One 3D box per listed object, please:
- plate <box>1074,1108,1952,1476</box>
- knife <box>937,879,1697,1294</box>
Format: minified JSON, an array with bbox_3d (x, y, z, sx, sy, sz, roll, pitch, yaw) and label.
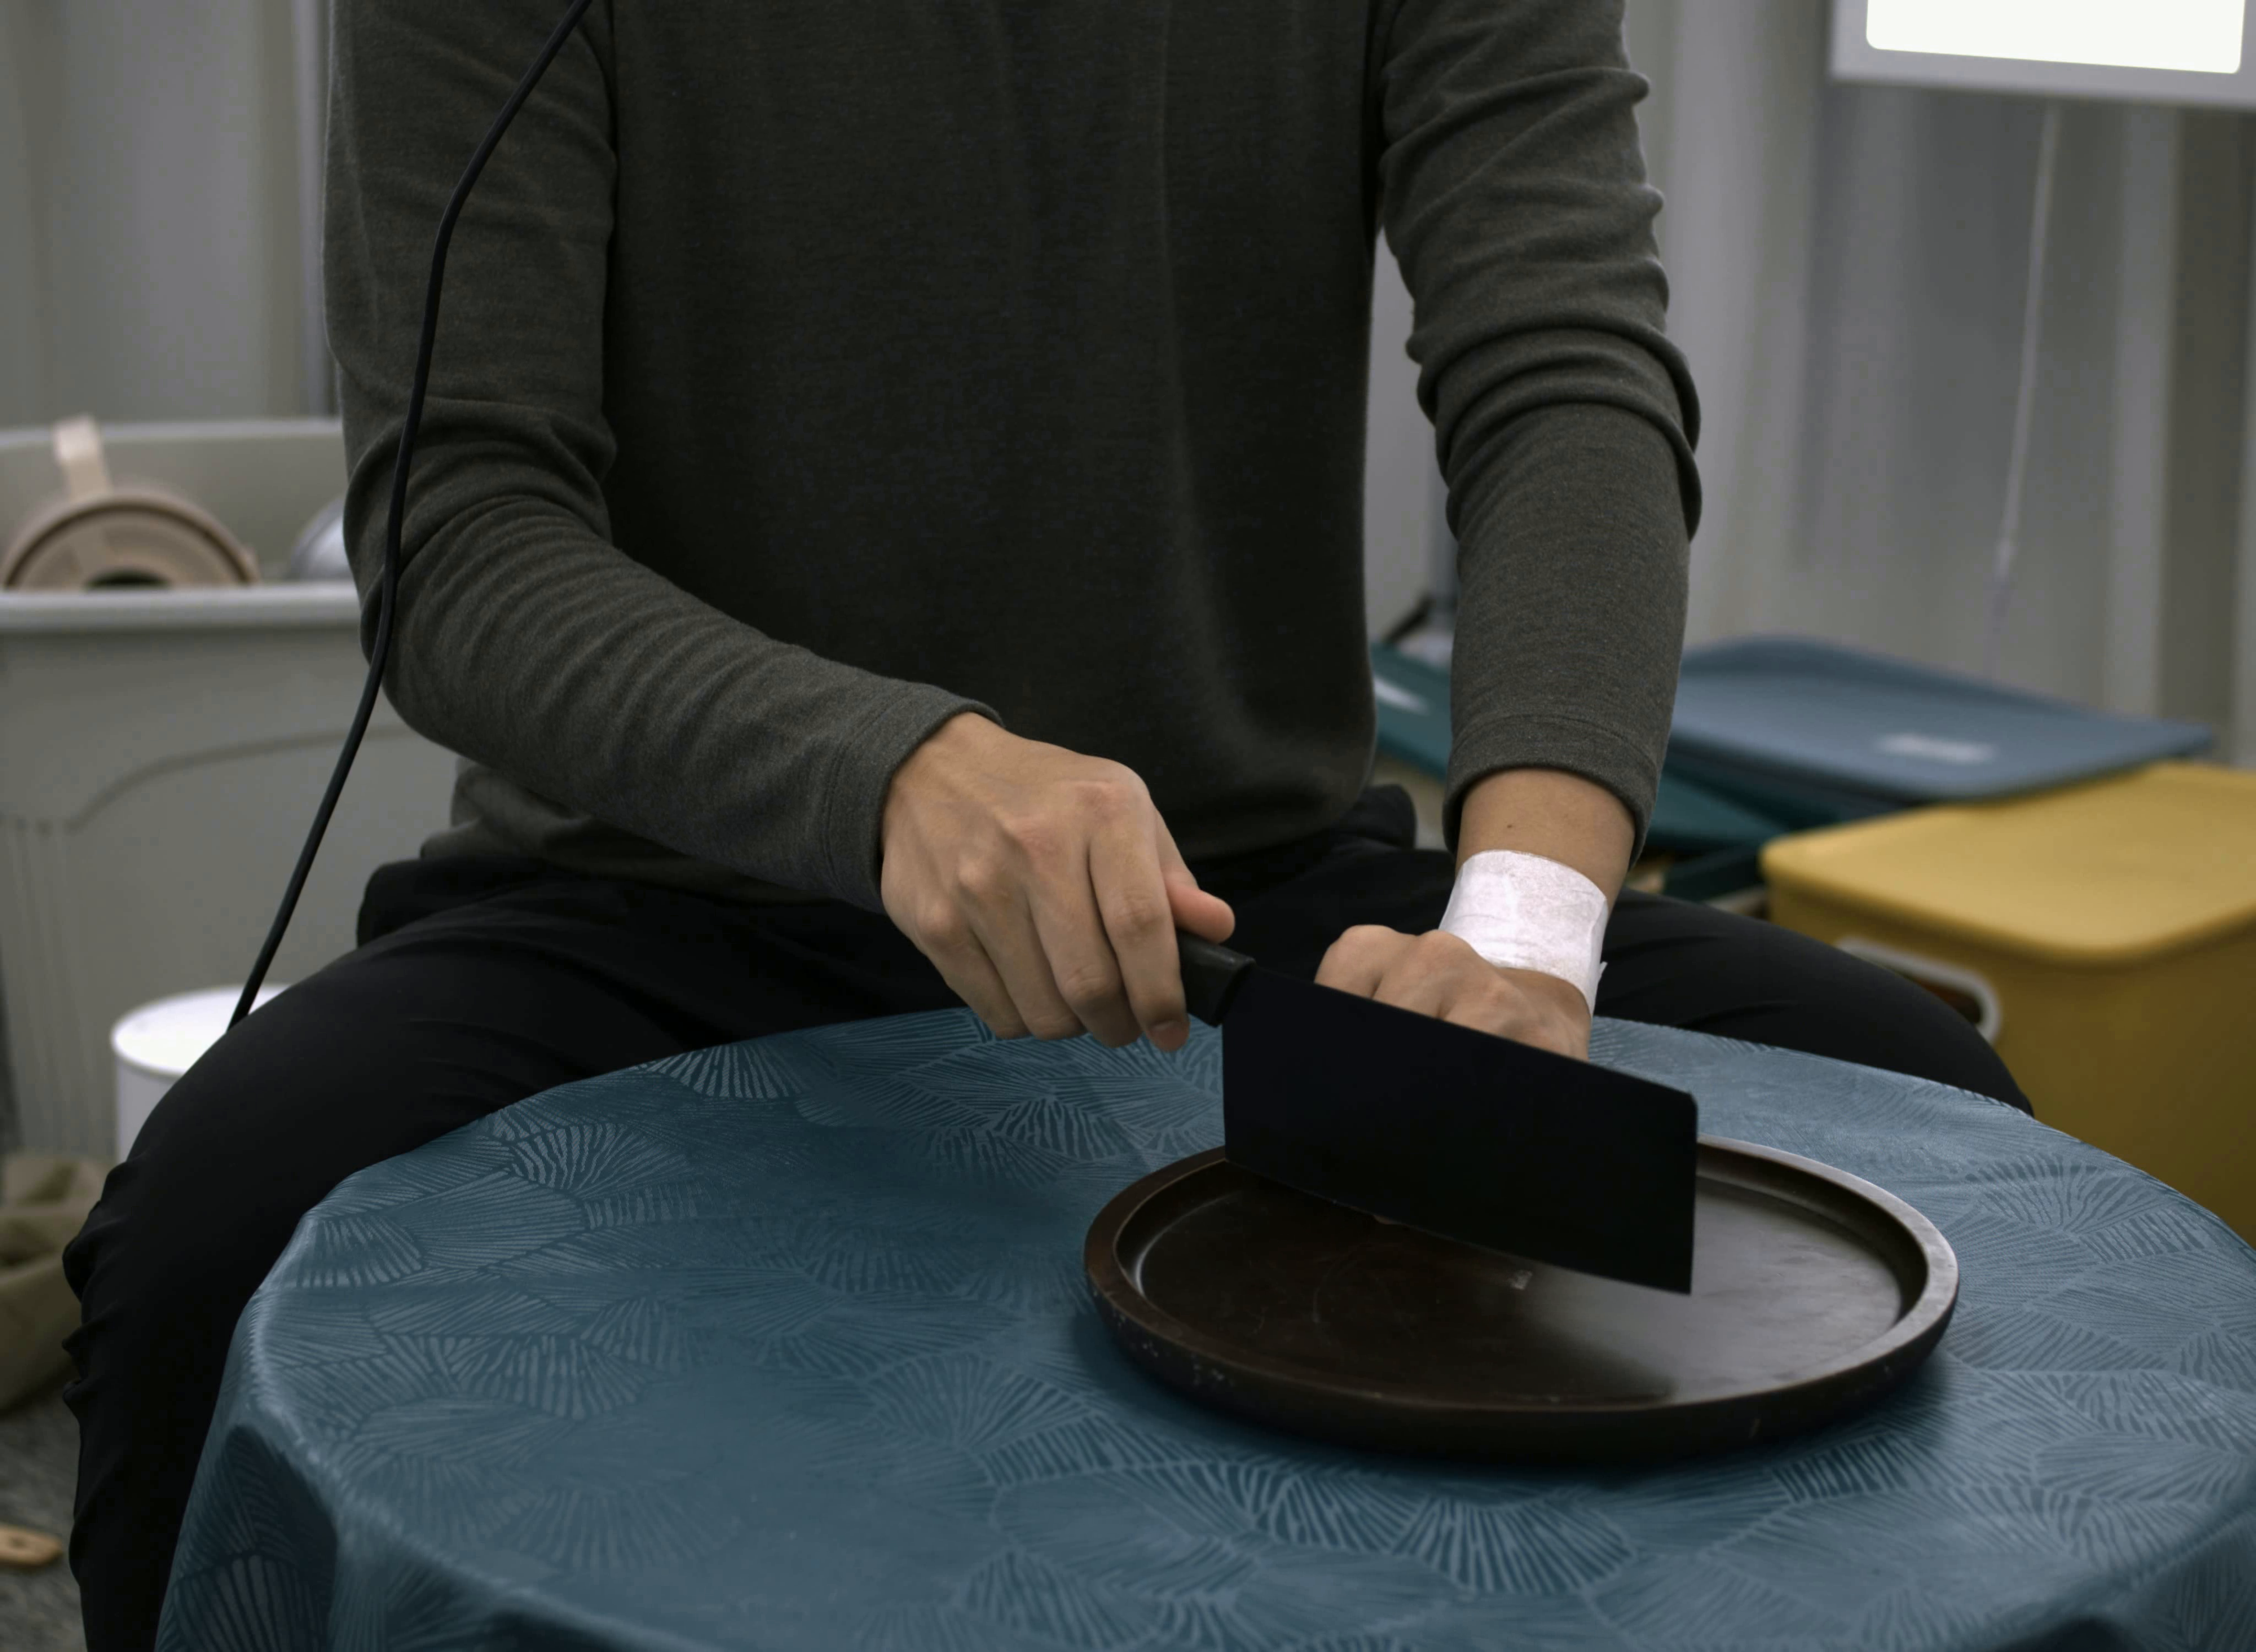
[{"bbox_3d":[0.110,0.132,1.517,0.254,0.029,0.253,0,16,1],"label":"plate"},{"bbox_3d":[0.051,0.071,1.553,0.298,0.081,0.021,21,26,40],"label":"knife"}]
